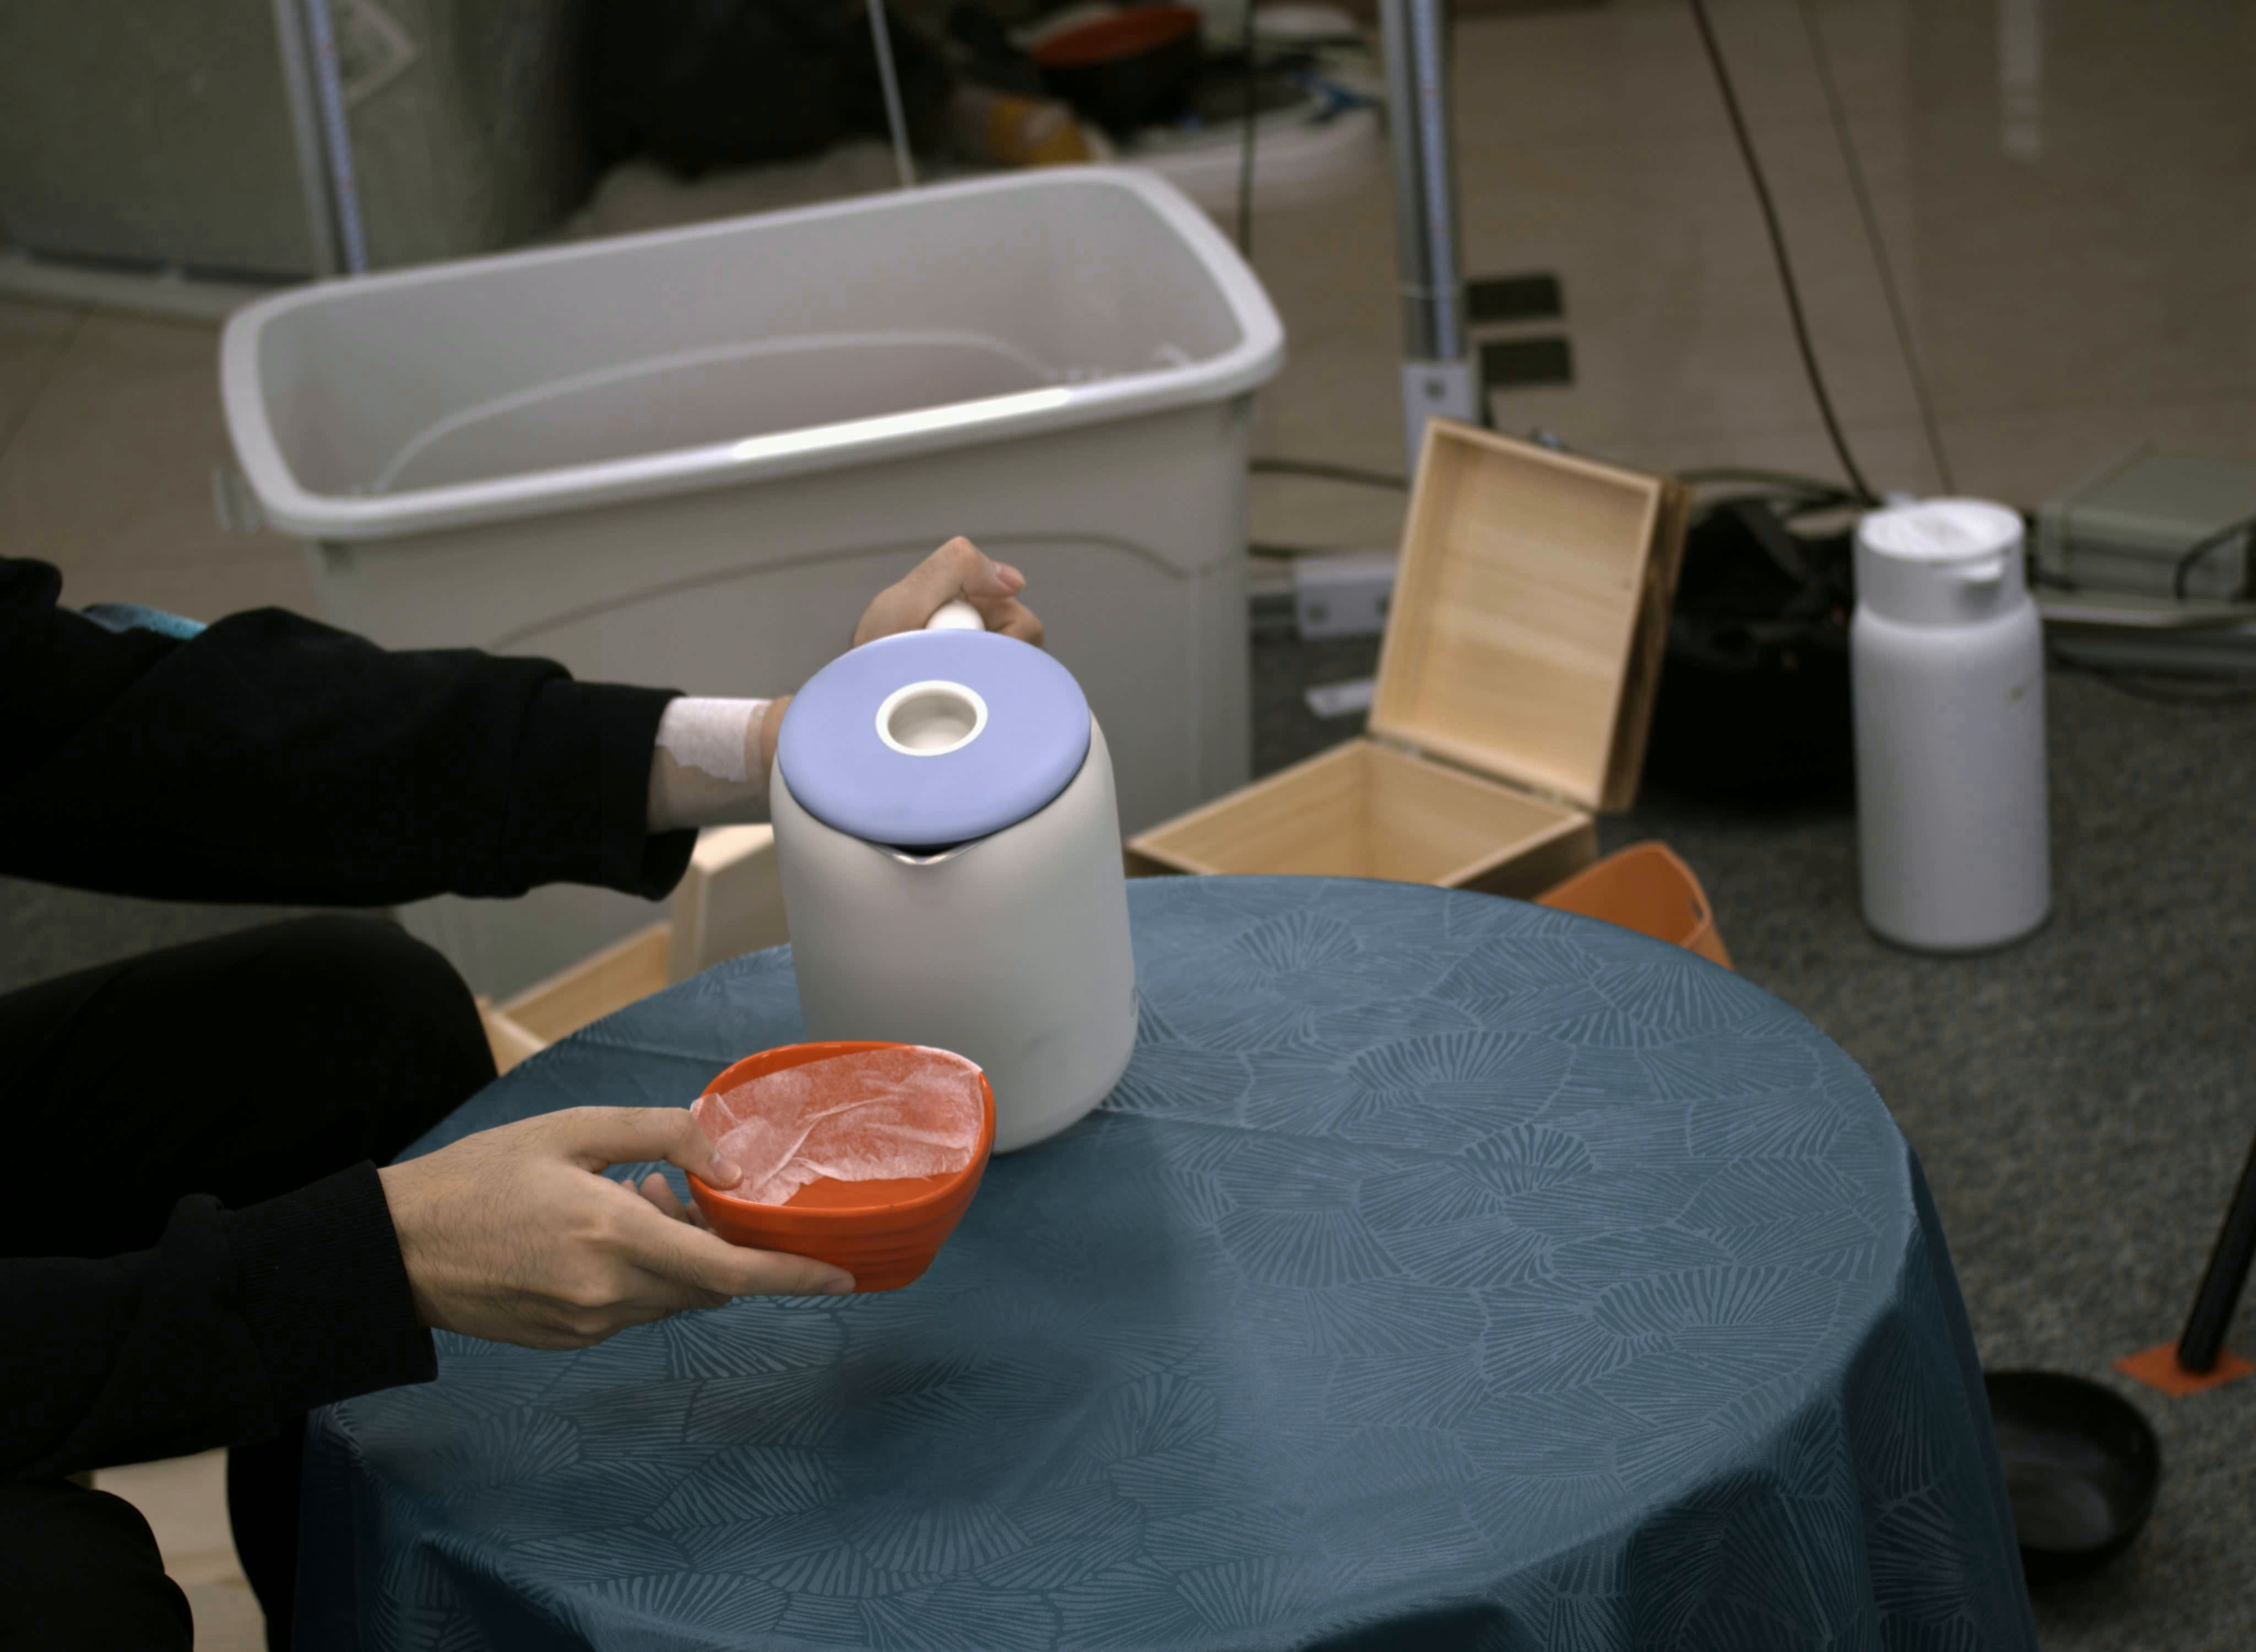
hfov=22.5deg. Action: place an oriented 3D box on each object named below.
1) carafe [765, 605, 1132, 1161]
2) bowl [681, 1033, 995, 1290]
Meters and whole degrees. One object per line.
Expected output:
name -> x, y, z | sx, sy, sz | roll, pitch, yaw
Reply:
carafe -> -0.068, 0.011, 2.183 | 0.132, 0.186, 0.187 | -3, 40, 2
bowl -> -0.102, 0.124, 2.012 | 0.119, 0.052, 0.117 | 0, 33, 0
